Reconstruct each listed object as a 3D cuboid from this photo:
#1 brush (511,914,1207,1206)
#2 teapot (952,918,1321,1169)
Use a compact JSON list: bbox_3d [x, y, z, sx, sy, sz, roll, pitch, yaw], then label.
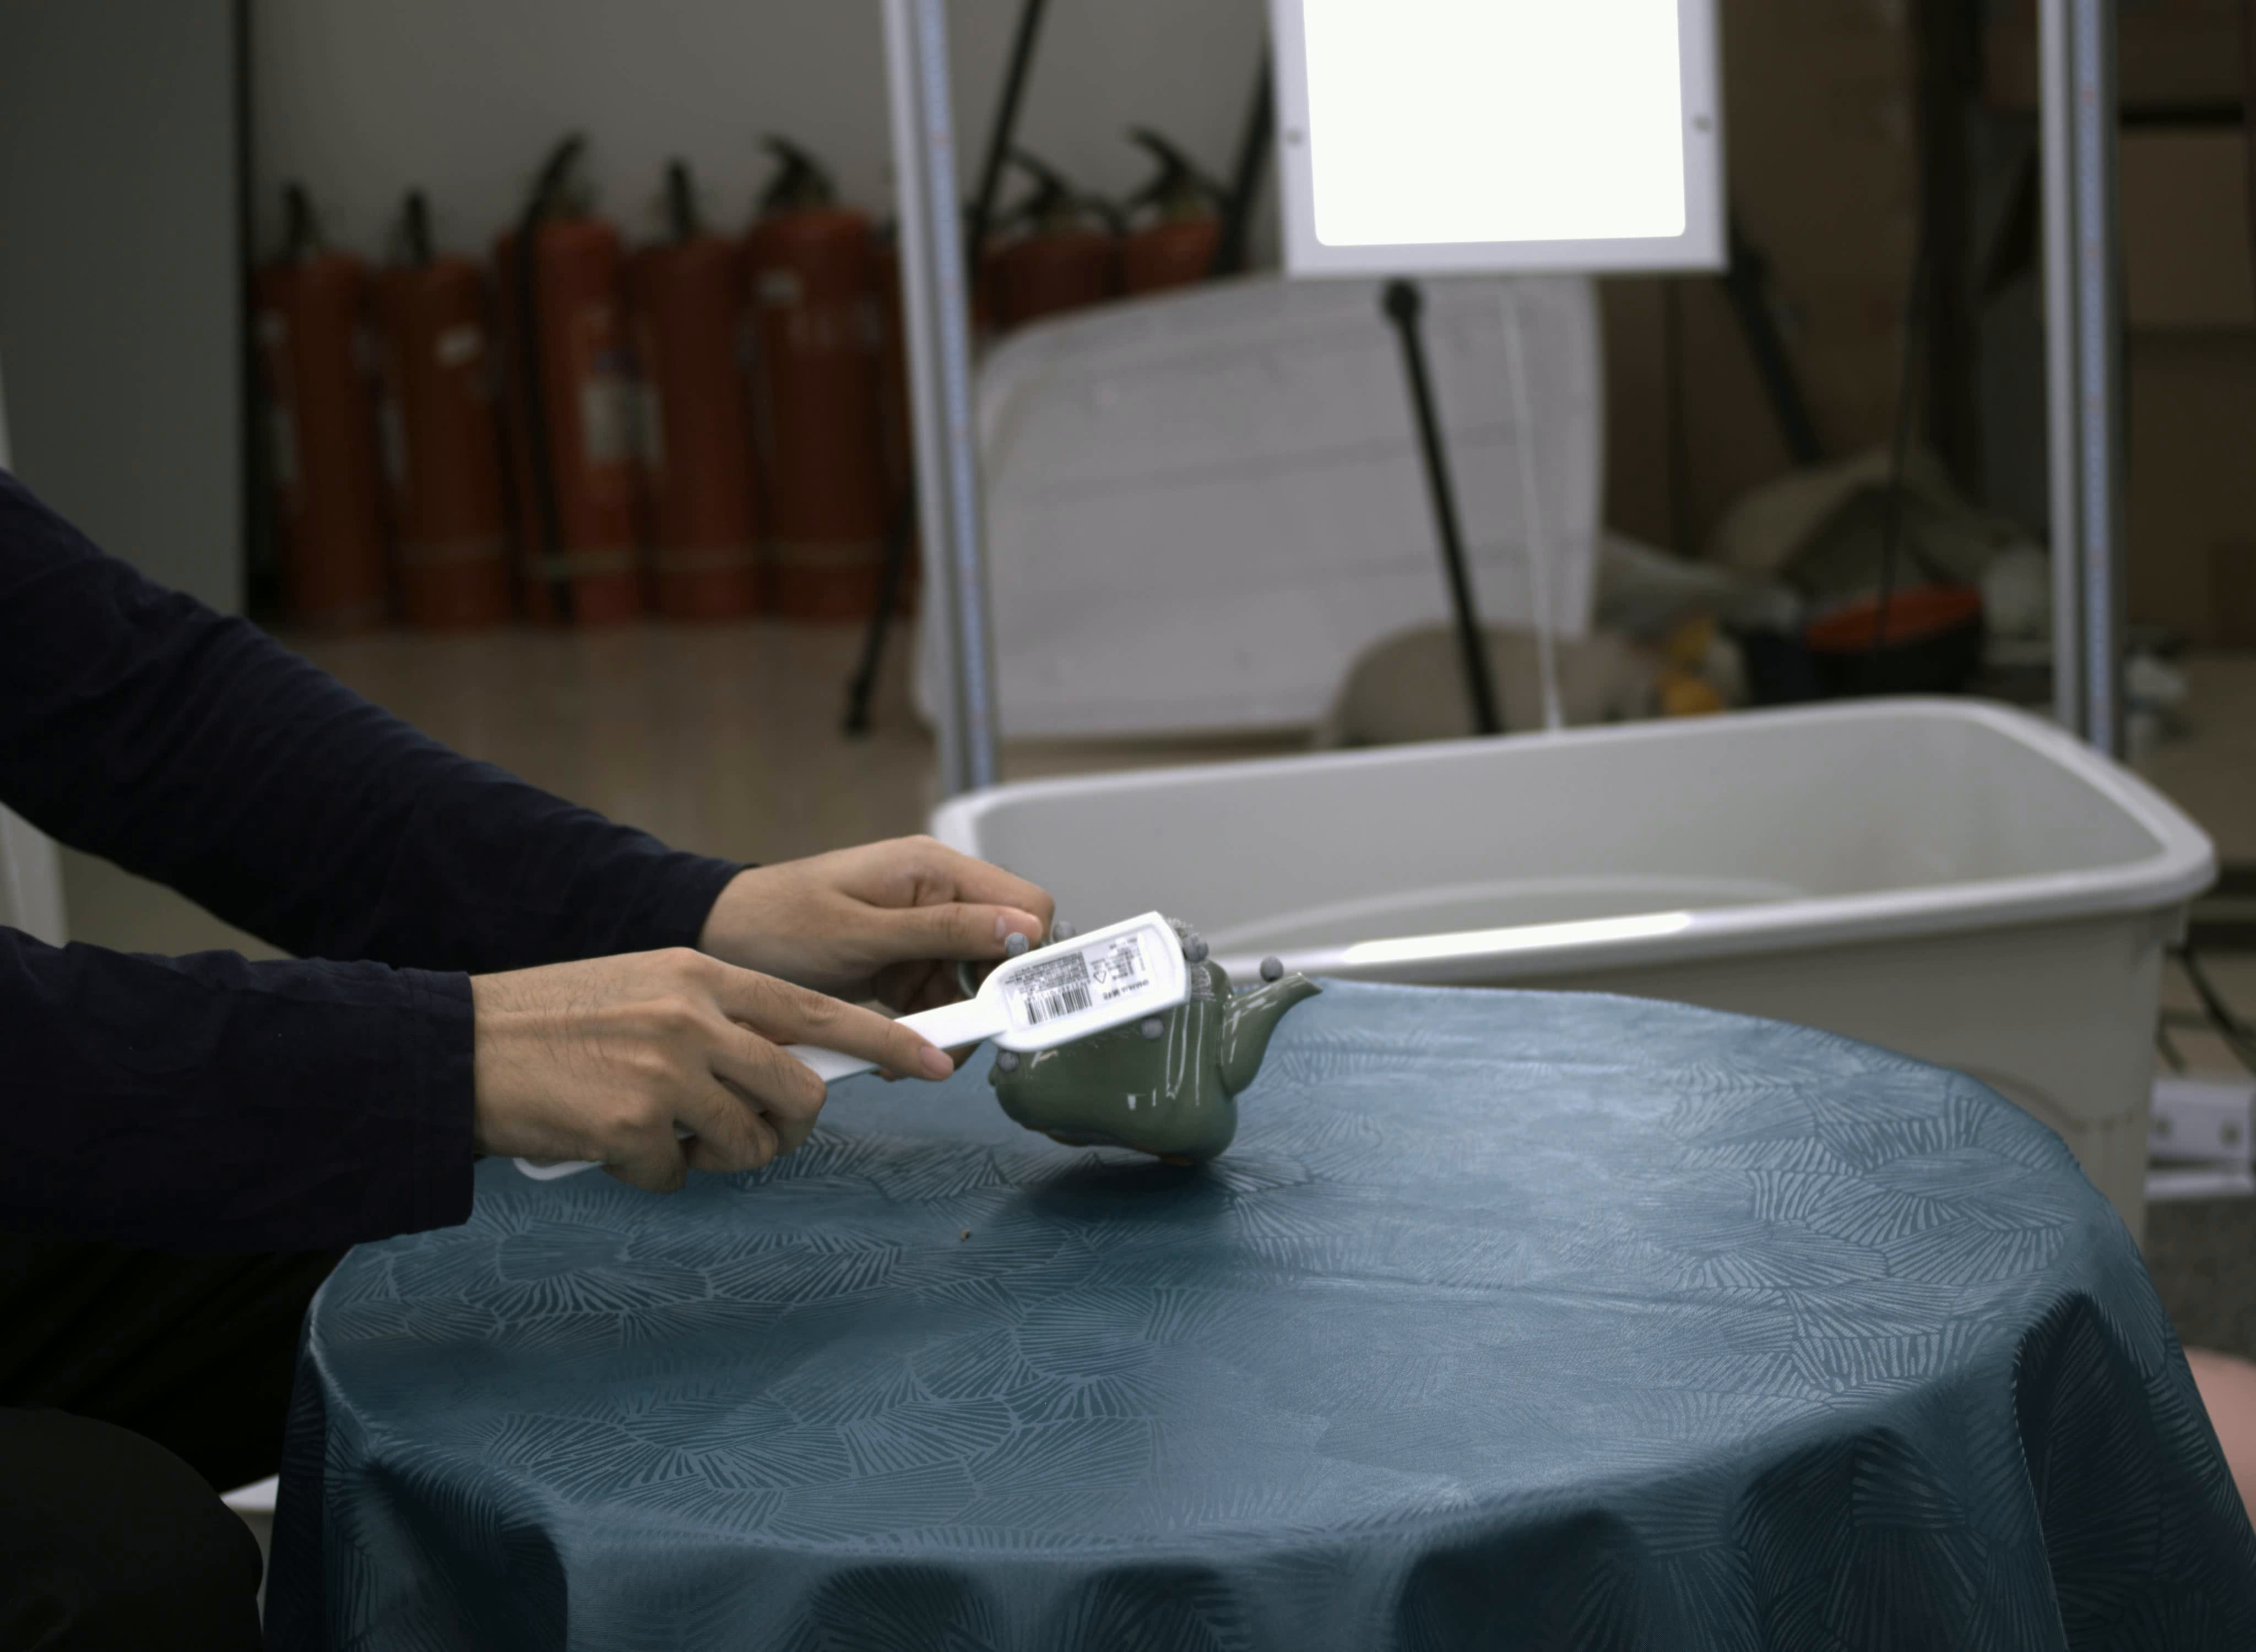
[{"bbox_3d":[-0.089,0.079,1.827,0.241,0.034,0.050,-19,-2,-8],"label":"brush"},{"bbox_3d":[-0.002,0.076,1.913,0.134,0.075,0.079,9,-8,17],"label":"teapot"}]
